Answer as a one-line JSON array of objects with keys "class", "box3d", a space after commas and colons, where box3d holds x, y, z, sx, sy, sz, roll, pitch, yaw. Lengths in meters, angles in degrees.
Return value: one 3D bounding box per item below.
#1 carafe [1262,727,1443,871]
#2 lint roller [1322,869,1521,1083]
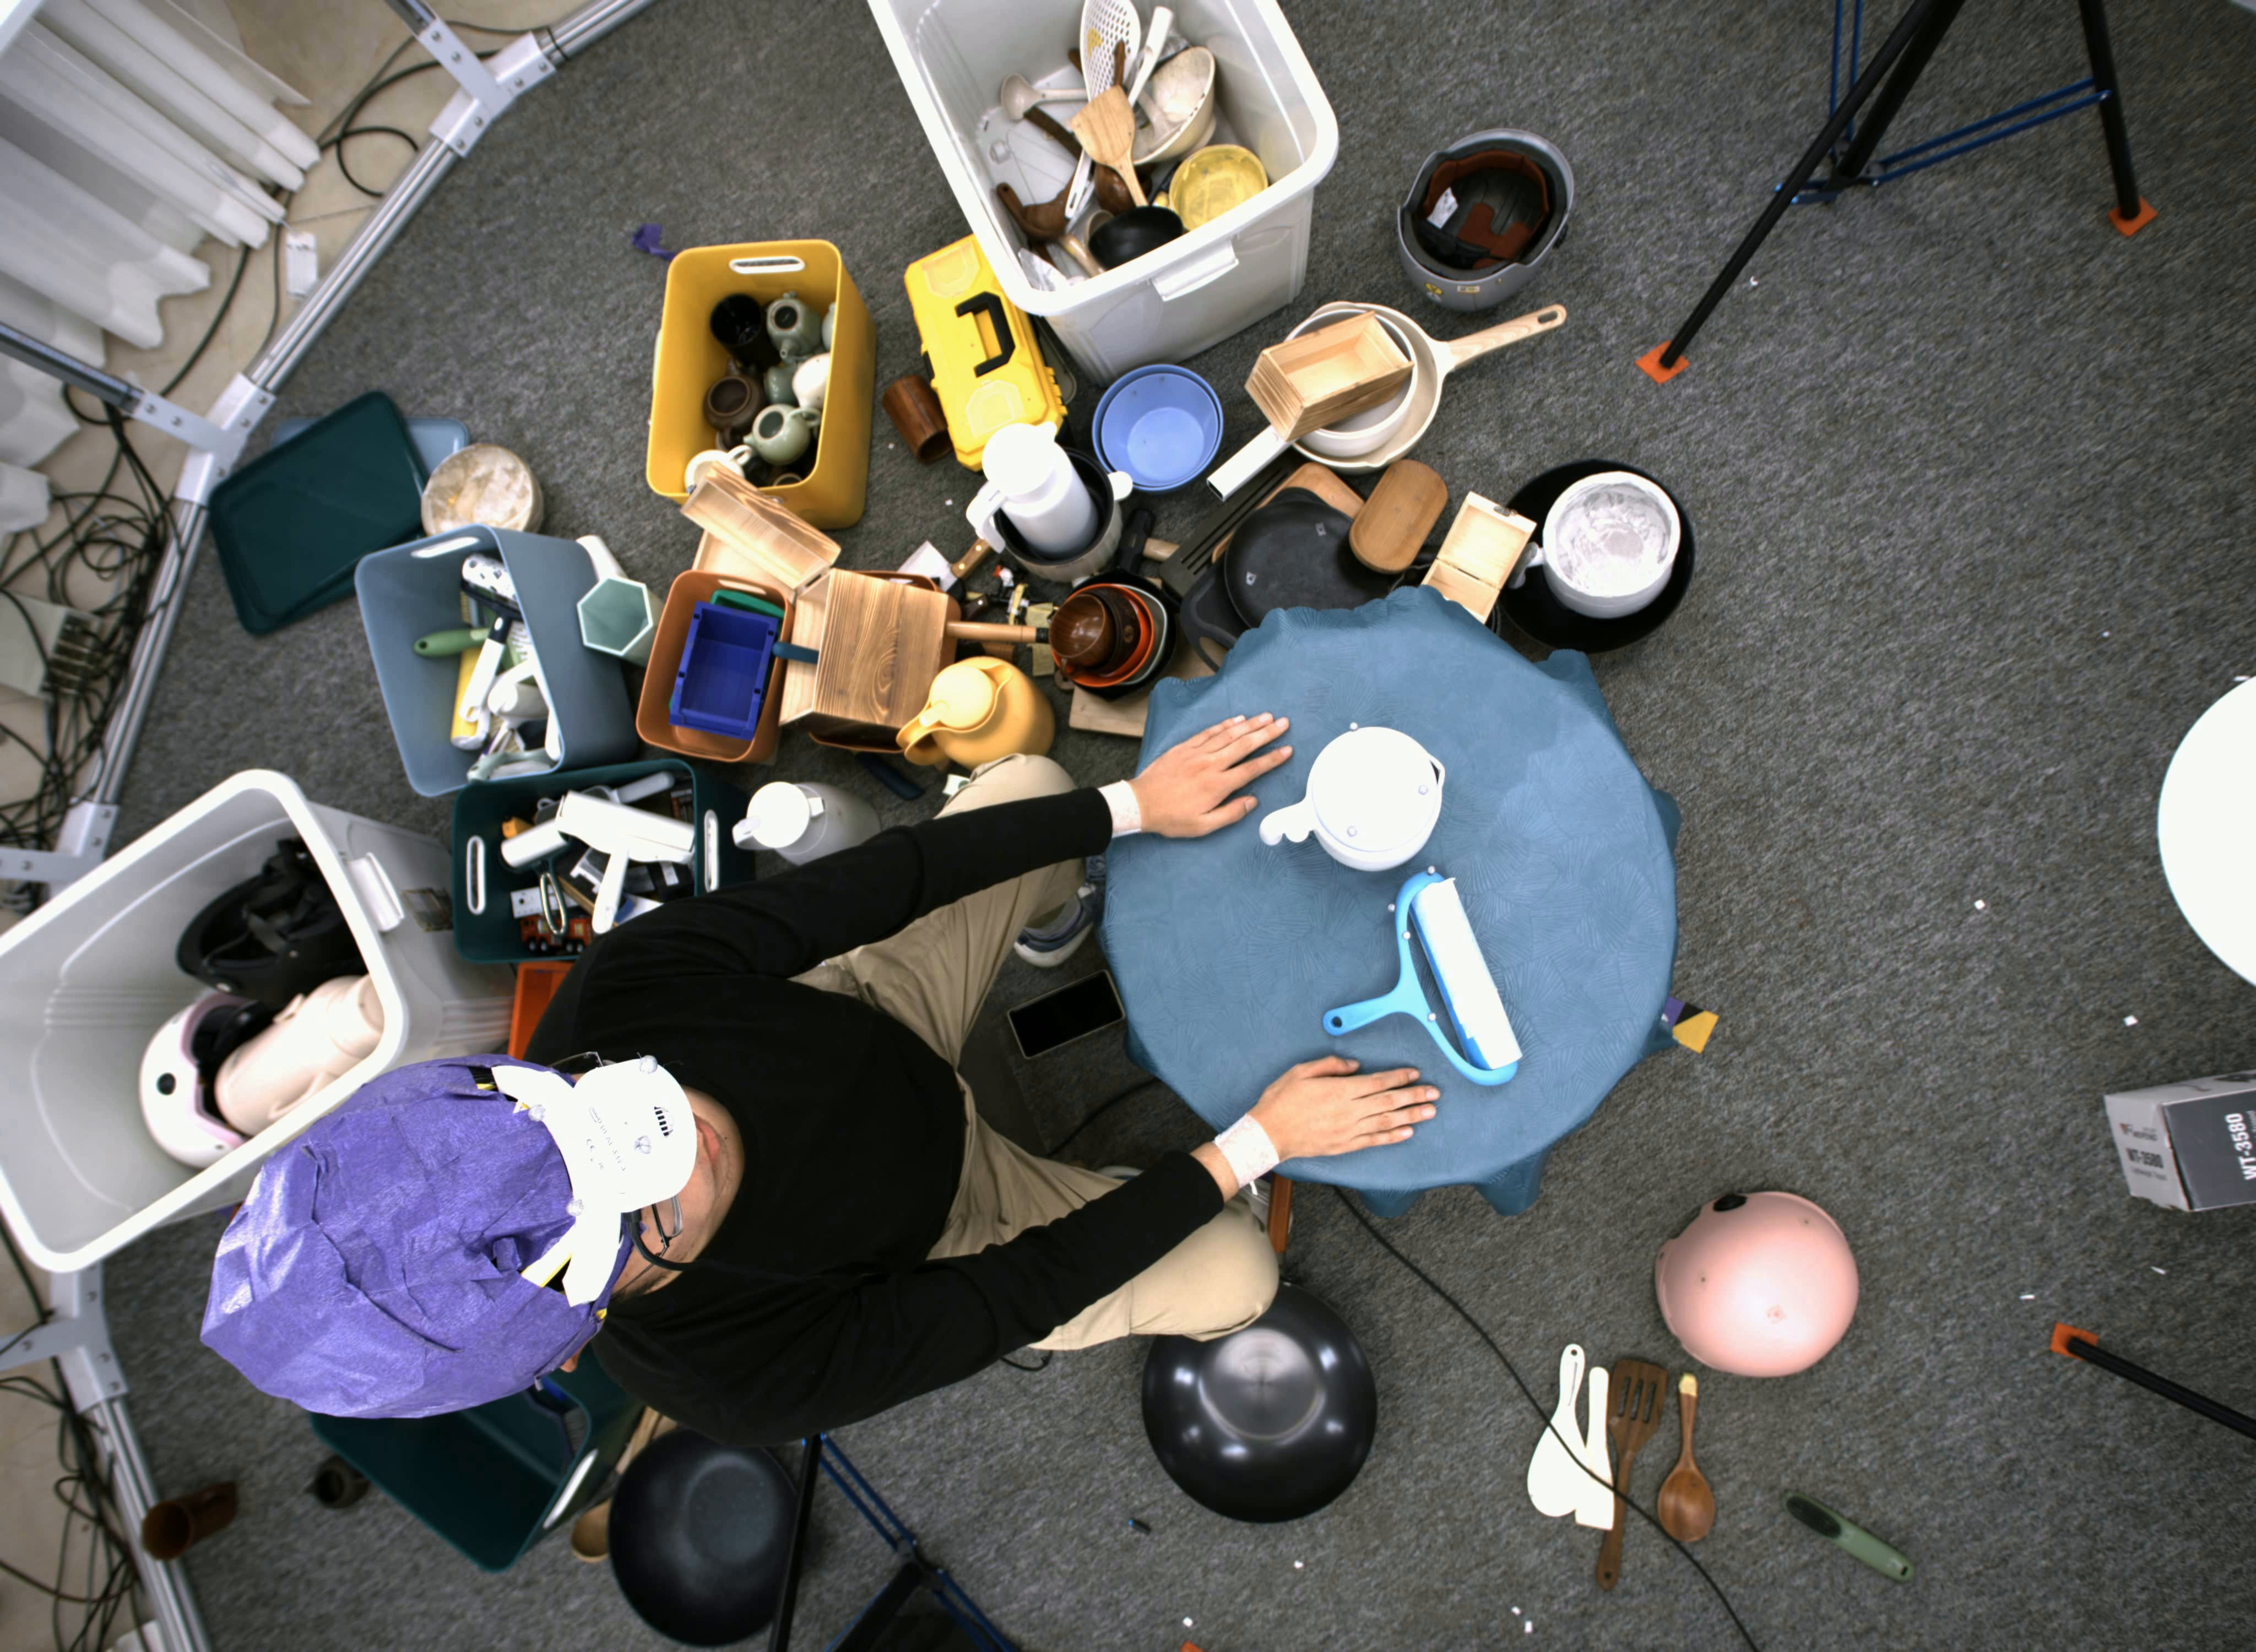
[{"class": "carafe", "box3d": [0.223, -0.018, 1.387, 0.192, 0.182, 0.131, -19, 81, 10]}, {"class": "lint roller", "box3d": [0.288, 0.174, 1.421, 0.181, 0.068, 0.228, -23, 86, 3]}]
